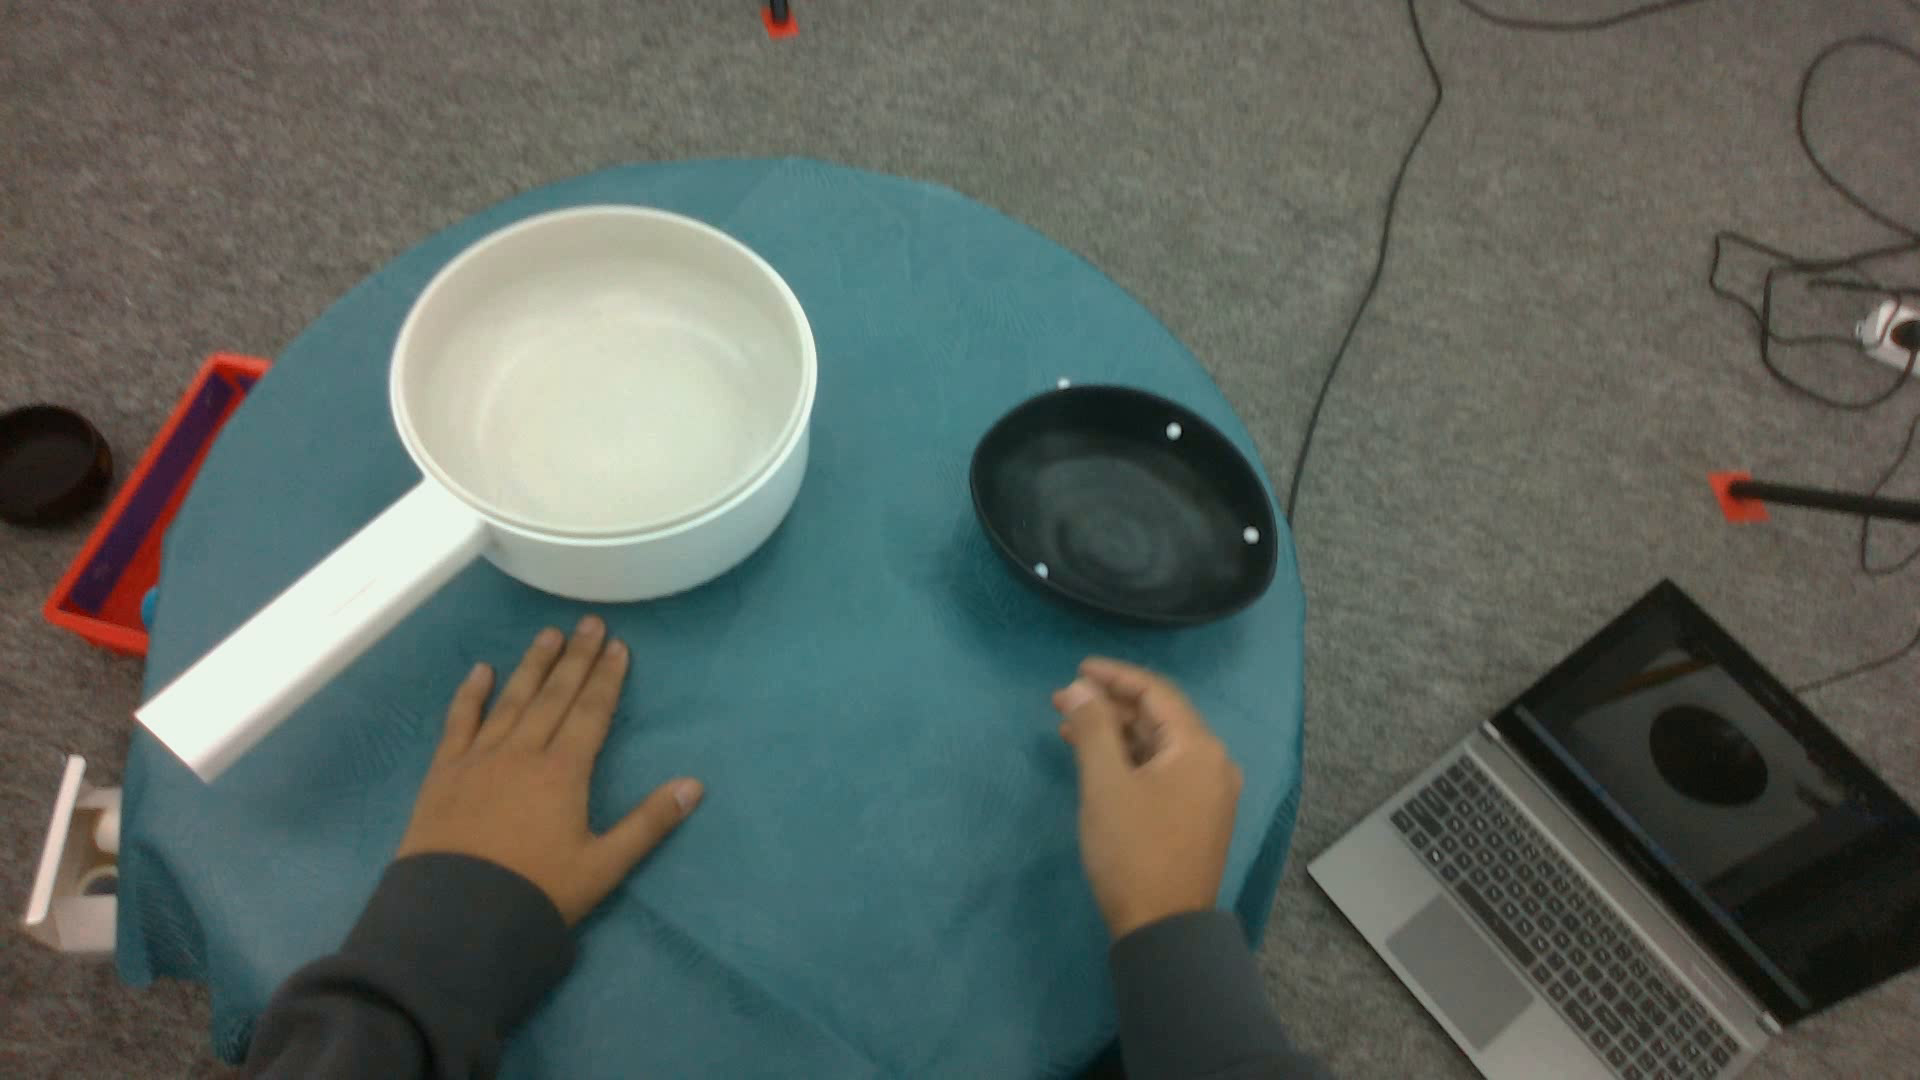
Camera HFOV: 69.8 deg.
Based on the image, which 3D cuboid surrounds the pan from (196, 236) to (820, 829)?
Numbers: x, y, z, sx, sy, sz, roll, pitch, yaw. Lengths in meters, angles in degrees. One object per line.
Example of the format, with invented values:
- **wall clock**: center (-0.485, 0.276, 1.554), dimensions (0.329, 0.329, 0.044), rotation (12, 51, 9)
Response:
- **pan**: center (-0.220, 0.003, 0.705), dimensions (0.201, 0.101, 0.356), rotation (34, 66, 9)

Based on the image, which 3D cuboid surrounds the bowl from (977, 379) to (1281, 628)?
- **bowl**: center (0.089, -0.011, 0.747), dimensions (0.170, 0.066, 0.138), rotation (21, 62, 5)
